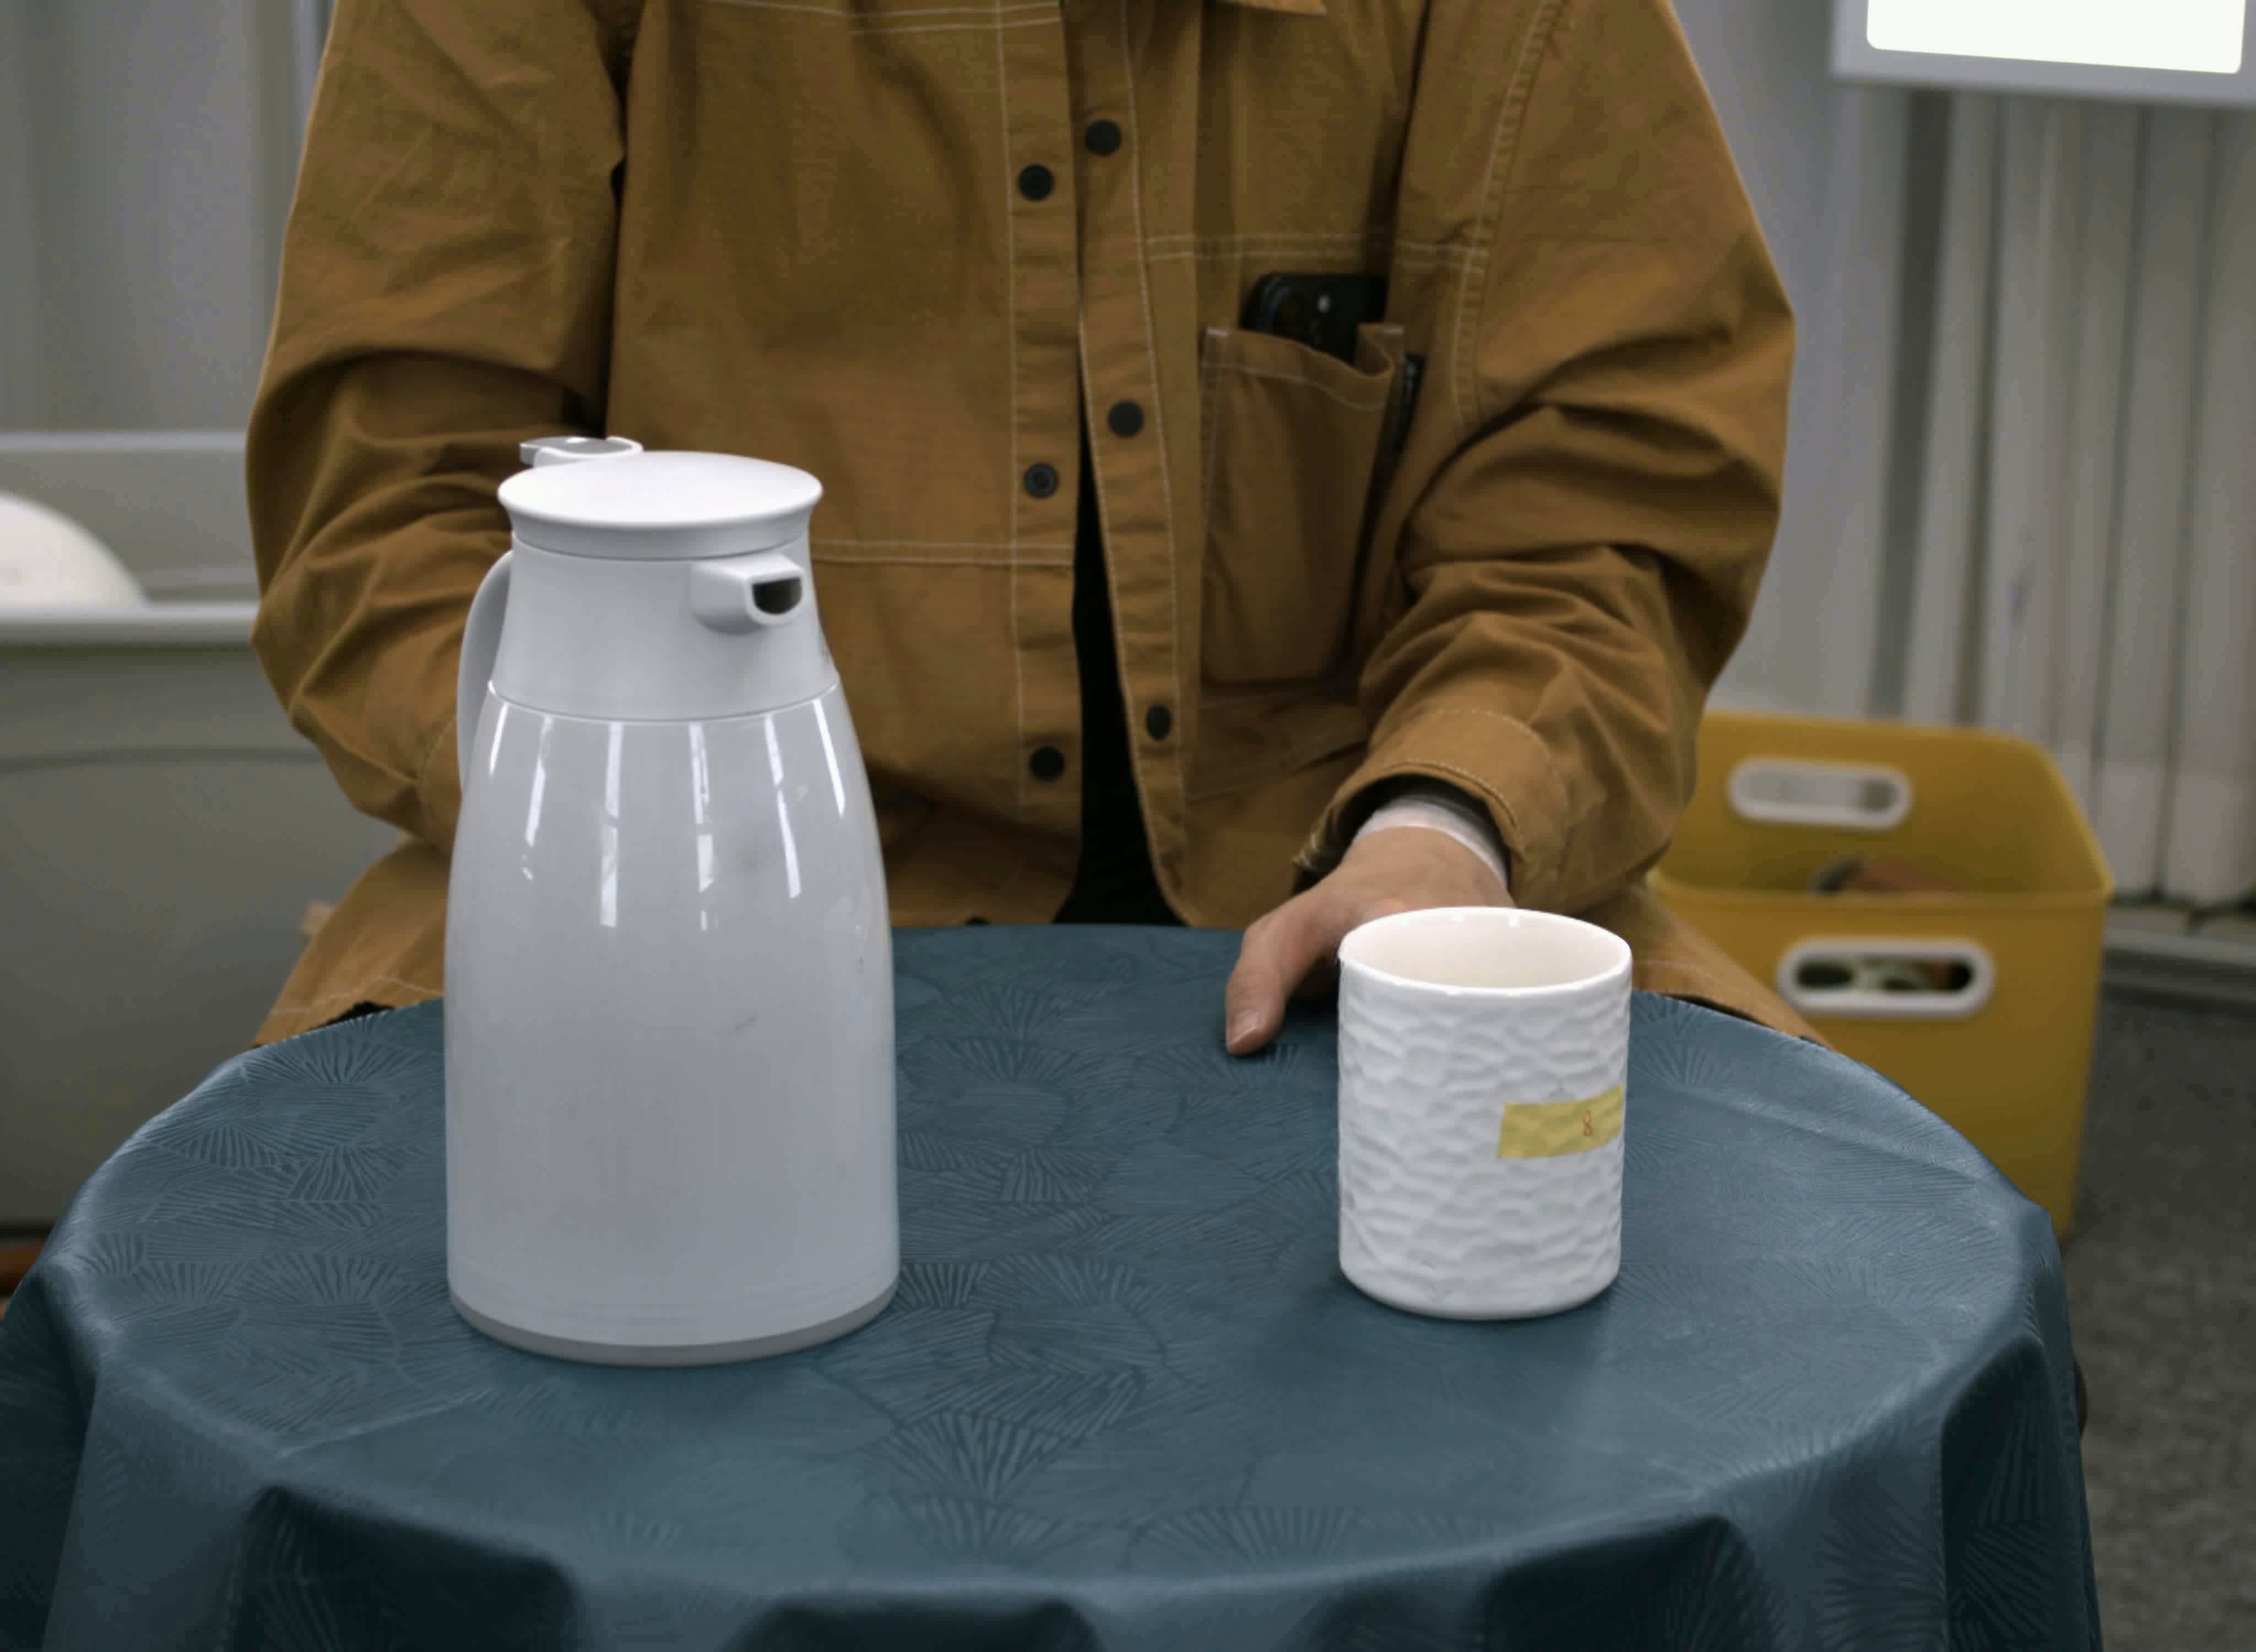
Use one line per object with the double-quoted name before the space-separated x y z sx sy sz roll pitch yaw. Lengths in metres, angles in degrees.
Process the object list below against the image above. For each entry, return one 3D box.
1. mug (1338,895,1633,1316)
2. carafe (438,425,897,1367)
"mug" 0.099 0.077 1.551 0.085 0.103 0.117 -5 18 -16
"carafe" -0.145 0.011 1.515 0.133 0.250 0.165 -13 20 -36
